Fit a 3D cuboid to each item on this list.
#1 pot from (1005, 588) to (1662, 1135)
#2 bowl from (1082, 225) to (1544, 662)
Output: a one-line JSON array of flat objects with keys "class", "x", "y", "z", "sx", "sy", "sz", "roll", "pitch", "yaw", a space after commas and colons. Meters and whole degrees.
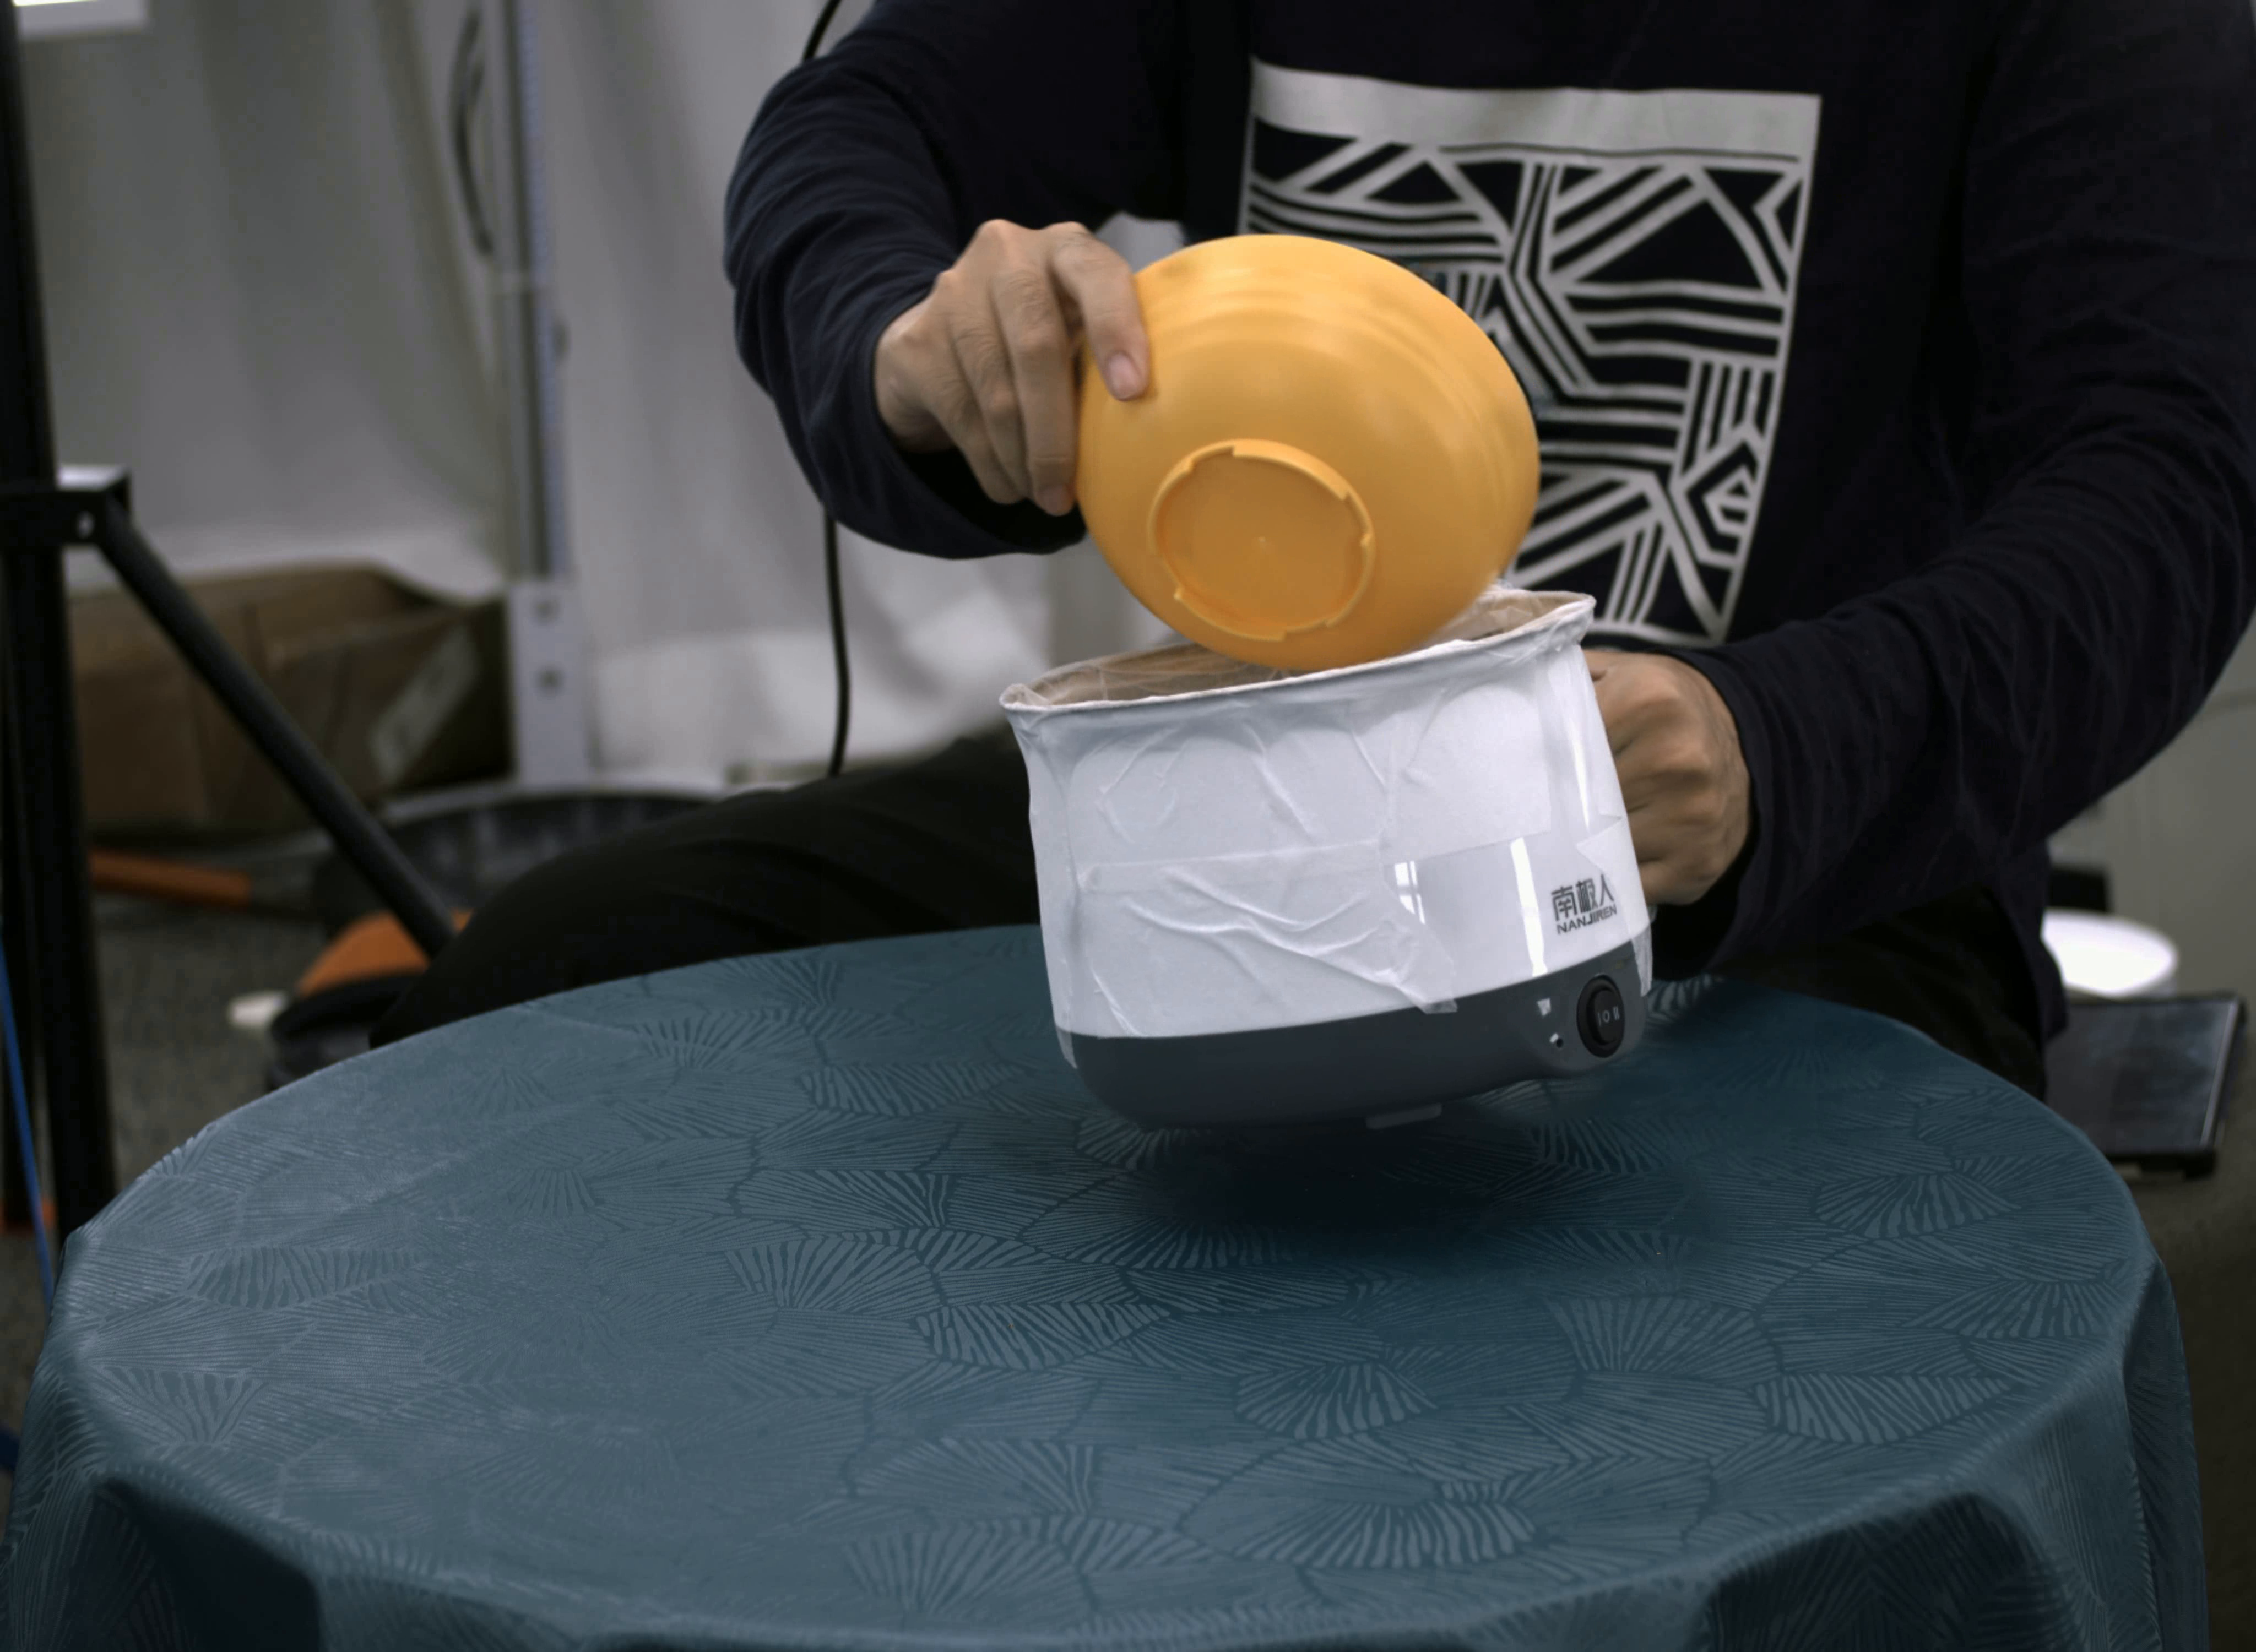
[{"class": "pot", "x": 0.077, "y": 0.008, "z": 1.573, "sx": 0.182, "sy": 0.137, "sz": 0.228, "roll": -4, "pitch": 7, "yaw": 40}, {"class": "bowl", "x": 0.046, "y": -0.099, "z": 1.566, "sx": 0.147, "sy": 0.144, "sz": 0.060, "roll": 5, "pitch": 38, "yaw": 22}]
